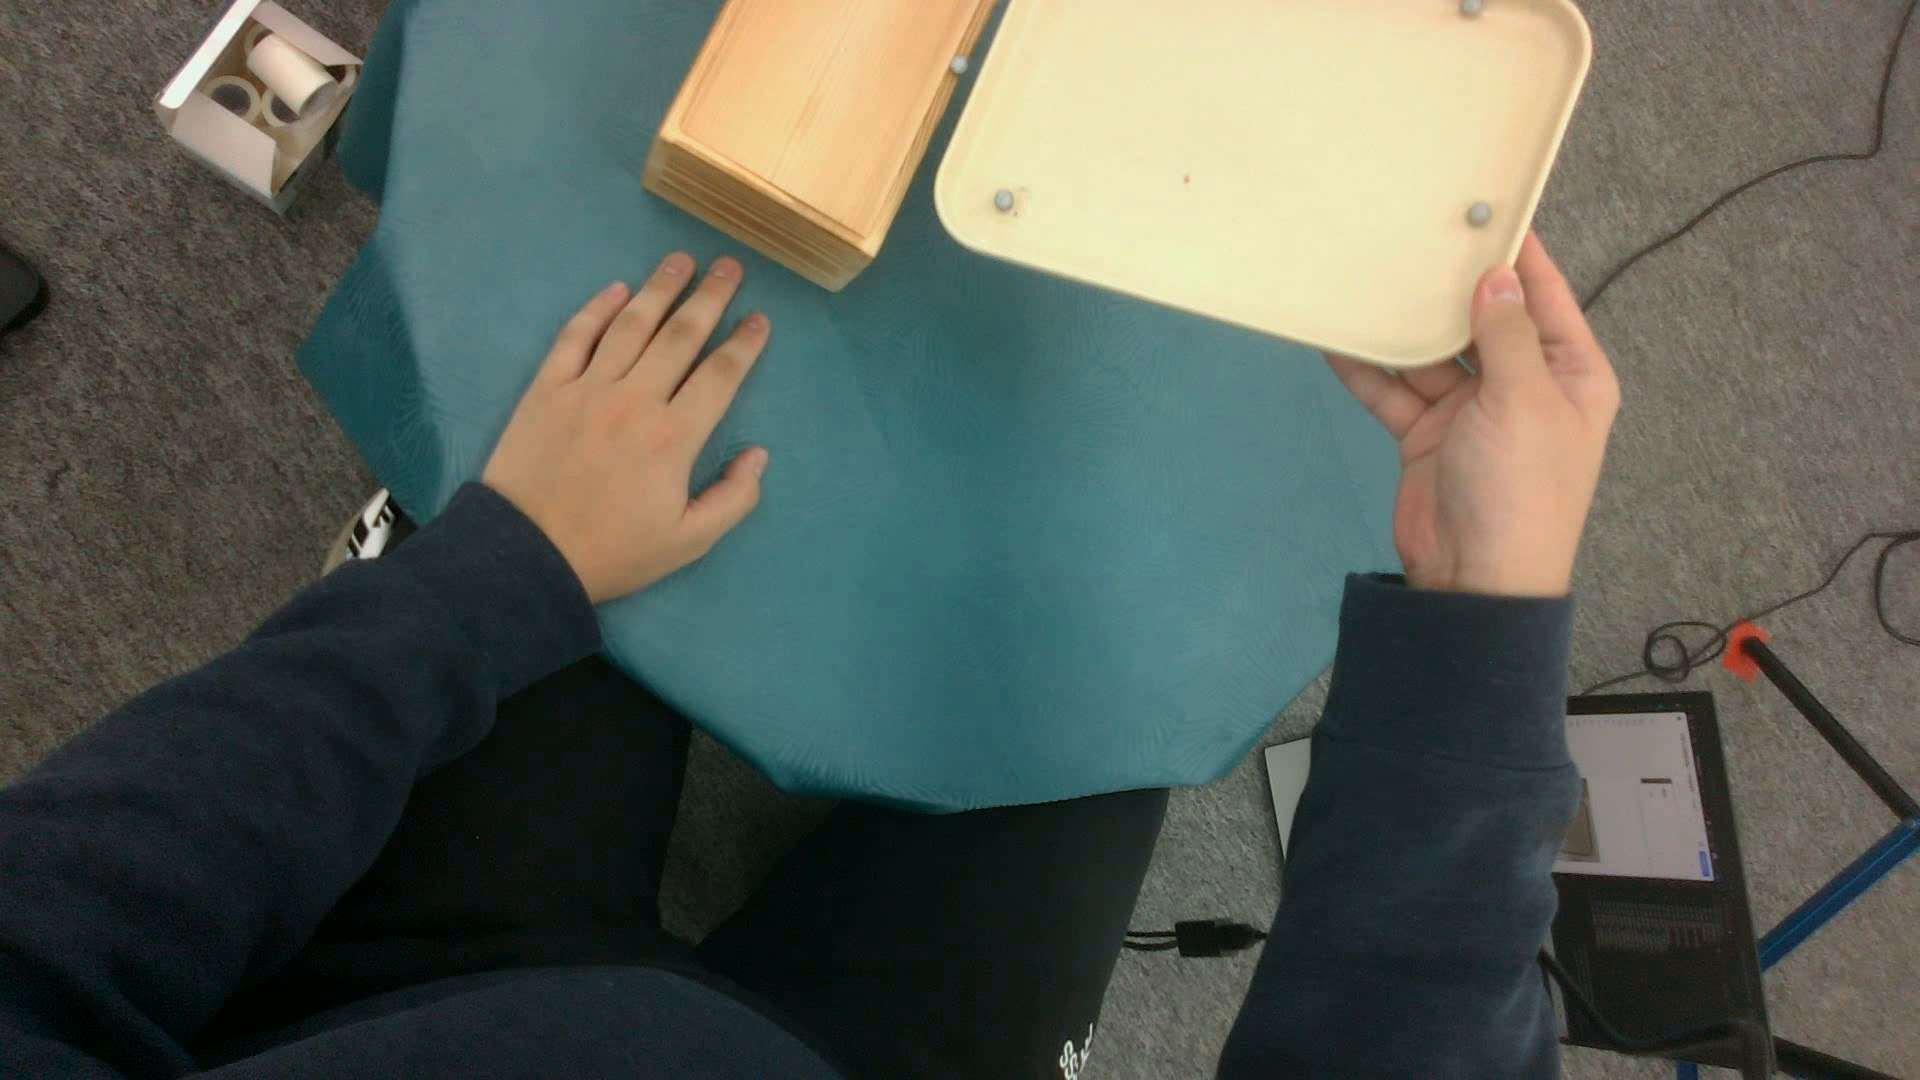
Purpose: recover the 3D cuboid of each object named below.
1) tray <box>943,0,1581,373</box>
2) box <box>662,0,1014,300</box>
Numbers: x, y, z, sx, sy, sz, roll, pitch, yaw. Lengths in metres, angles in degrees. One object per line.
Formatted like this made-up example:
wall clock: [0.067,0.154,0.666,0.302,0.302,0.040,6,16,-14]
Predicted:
tray: [0.120,-0.171,0.584,0.239,0.017,0.171,20,84,21]
box: [-0.048,-0.240,0.673,0.107,0.080,0.212,27,80,-14]
